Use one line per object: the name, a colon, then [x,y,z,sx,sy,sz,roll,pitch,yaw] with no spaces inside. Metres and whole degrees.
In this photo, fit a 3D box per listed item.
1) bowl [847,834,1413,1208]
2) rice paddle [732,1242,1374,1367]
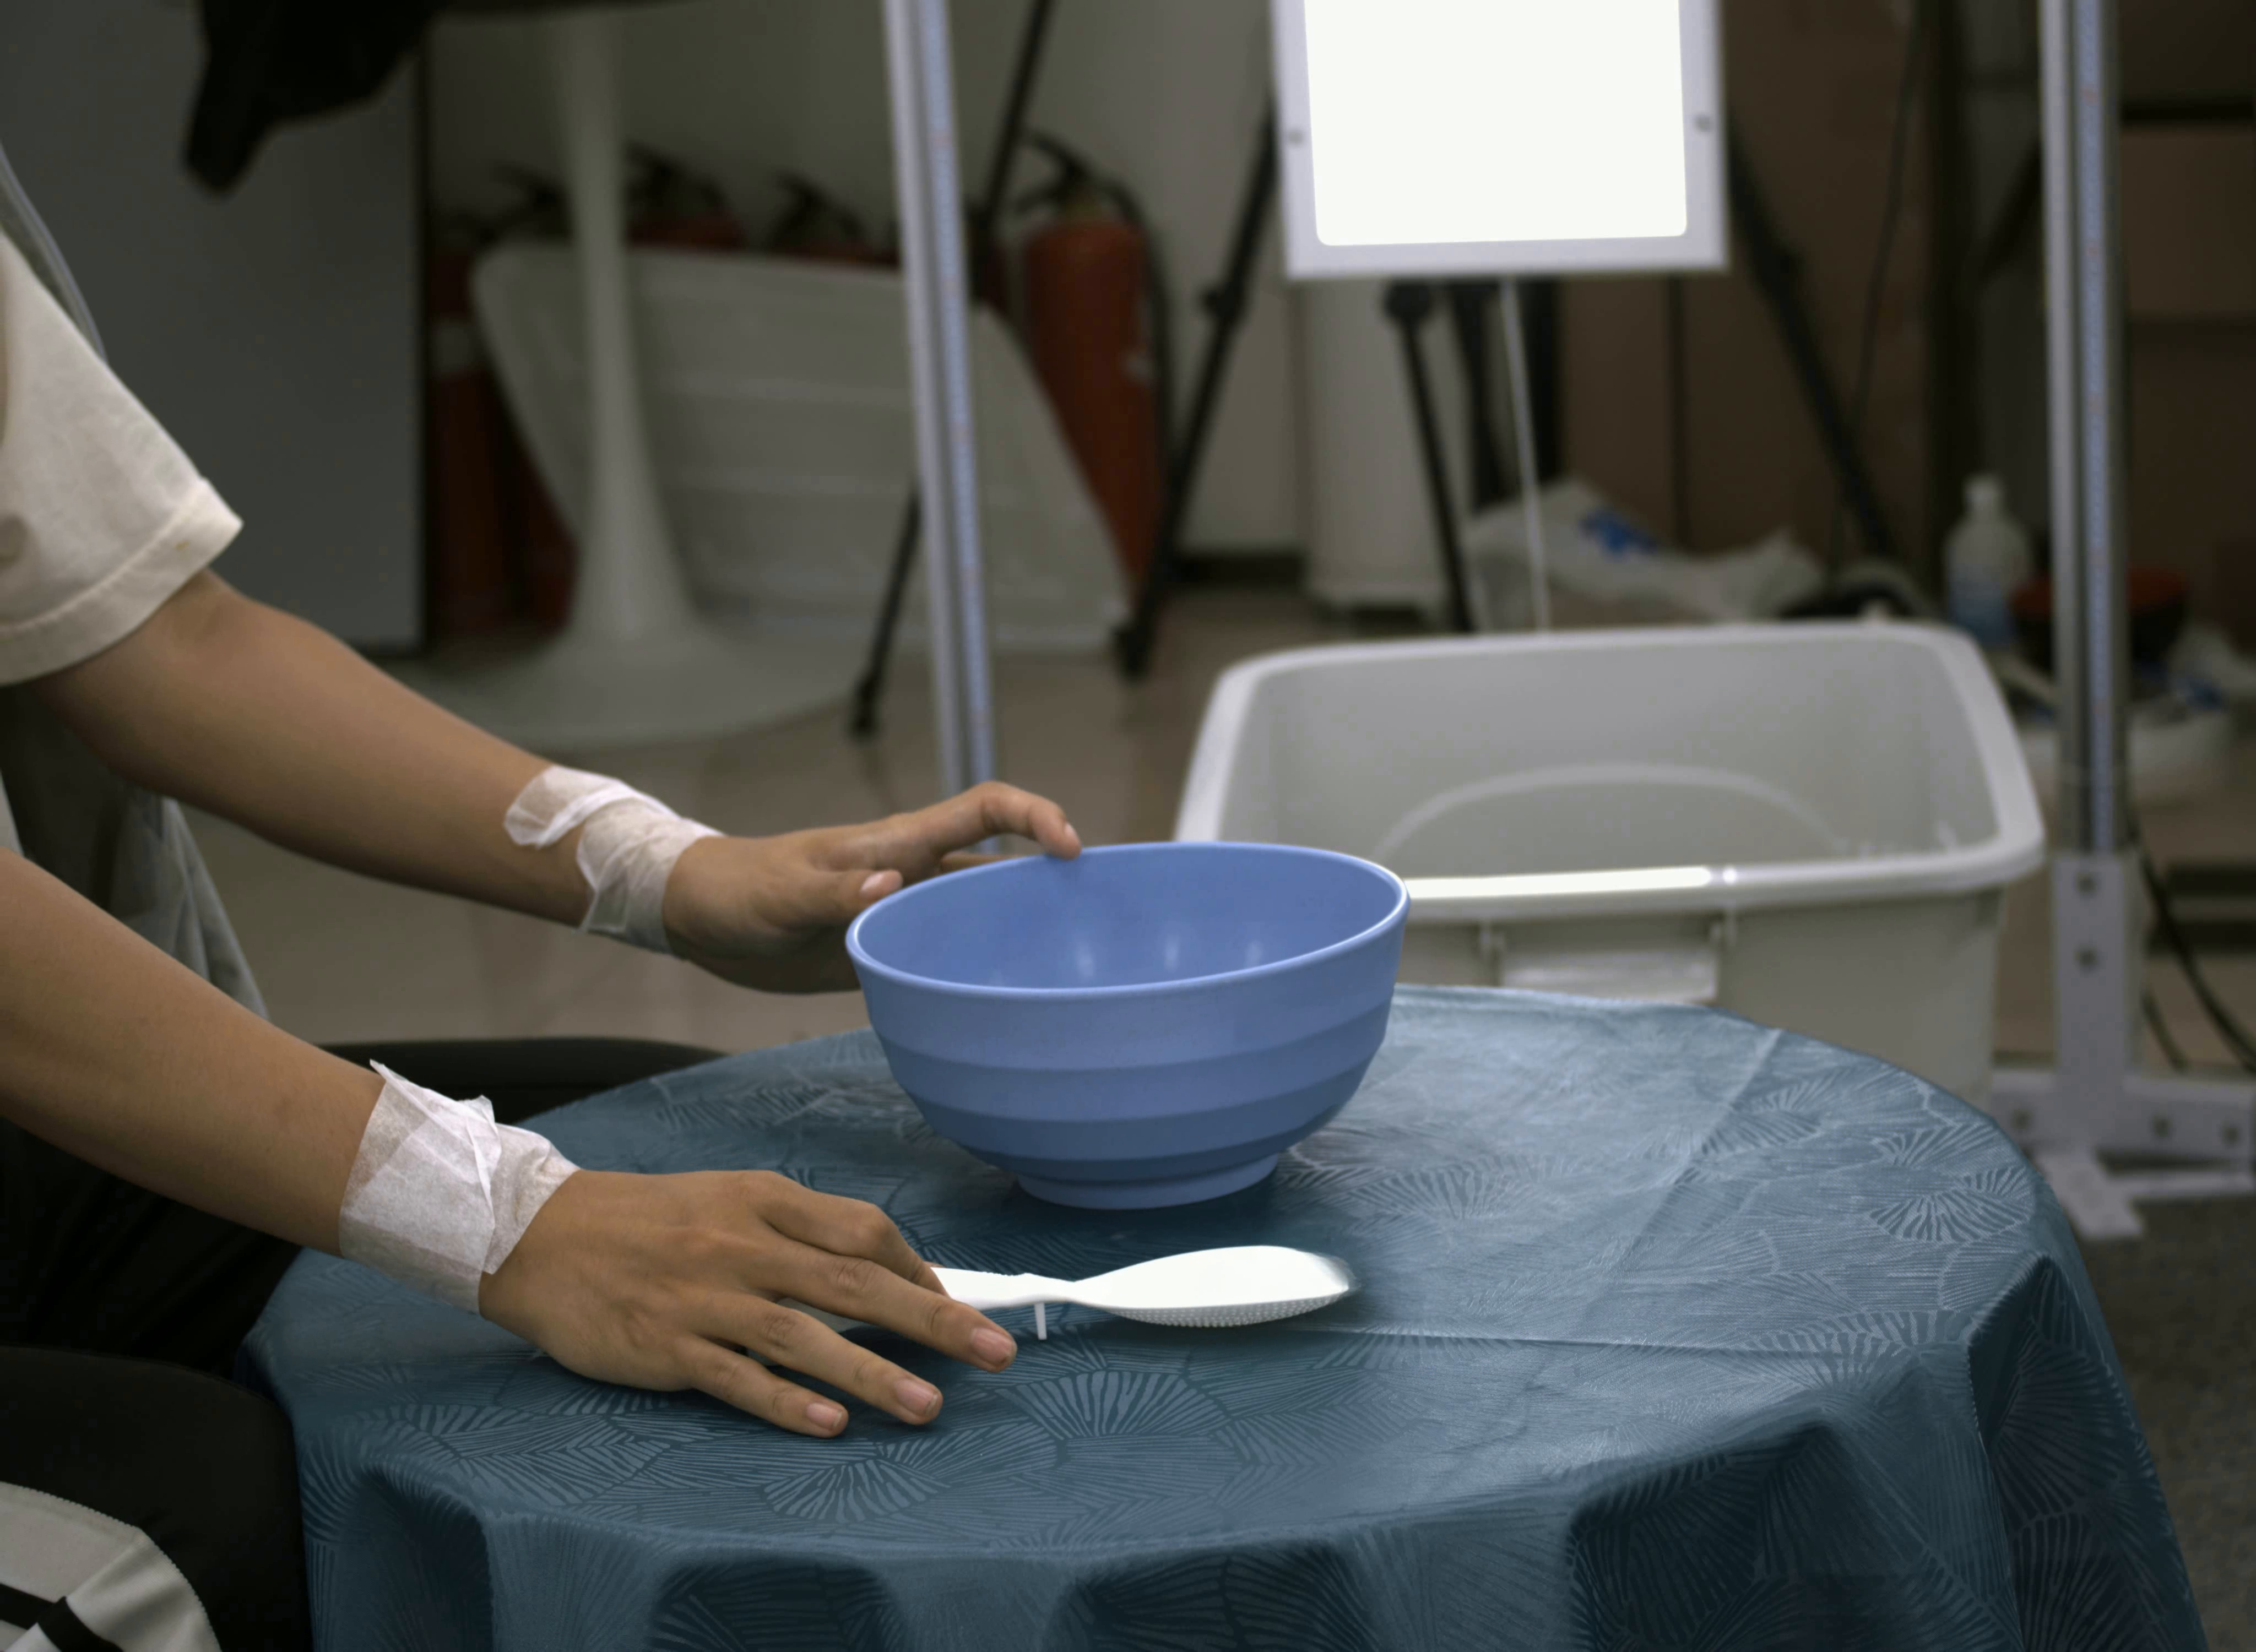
bowl: [0.003,0.073,1.910,0.196,0.096,0.196,-4,14,0]
rice paddle: [-0.023,0.147,1.755,0.204,0.029,0.069,-5,11,0]
